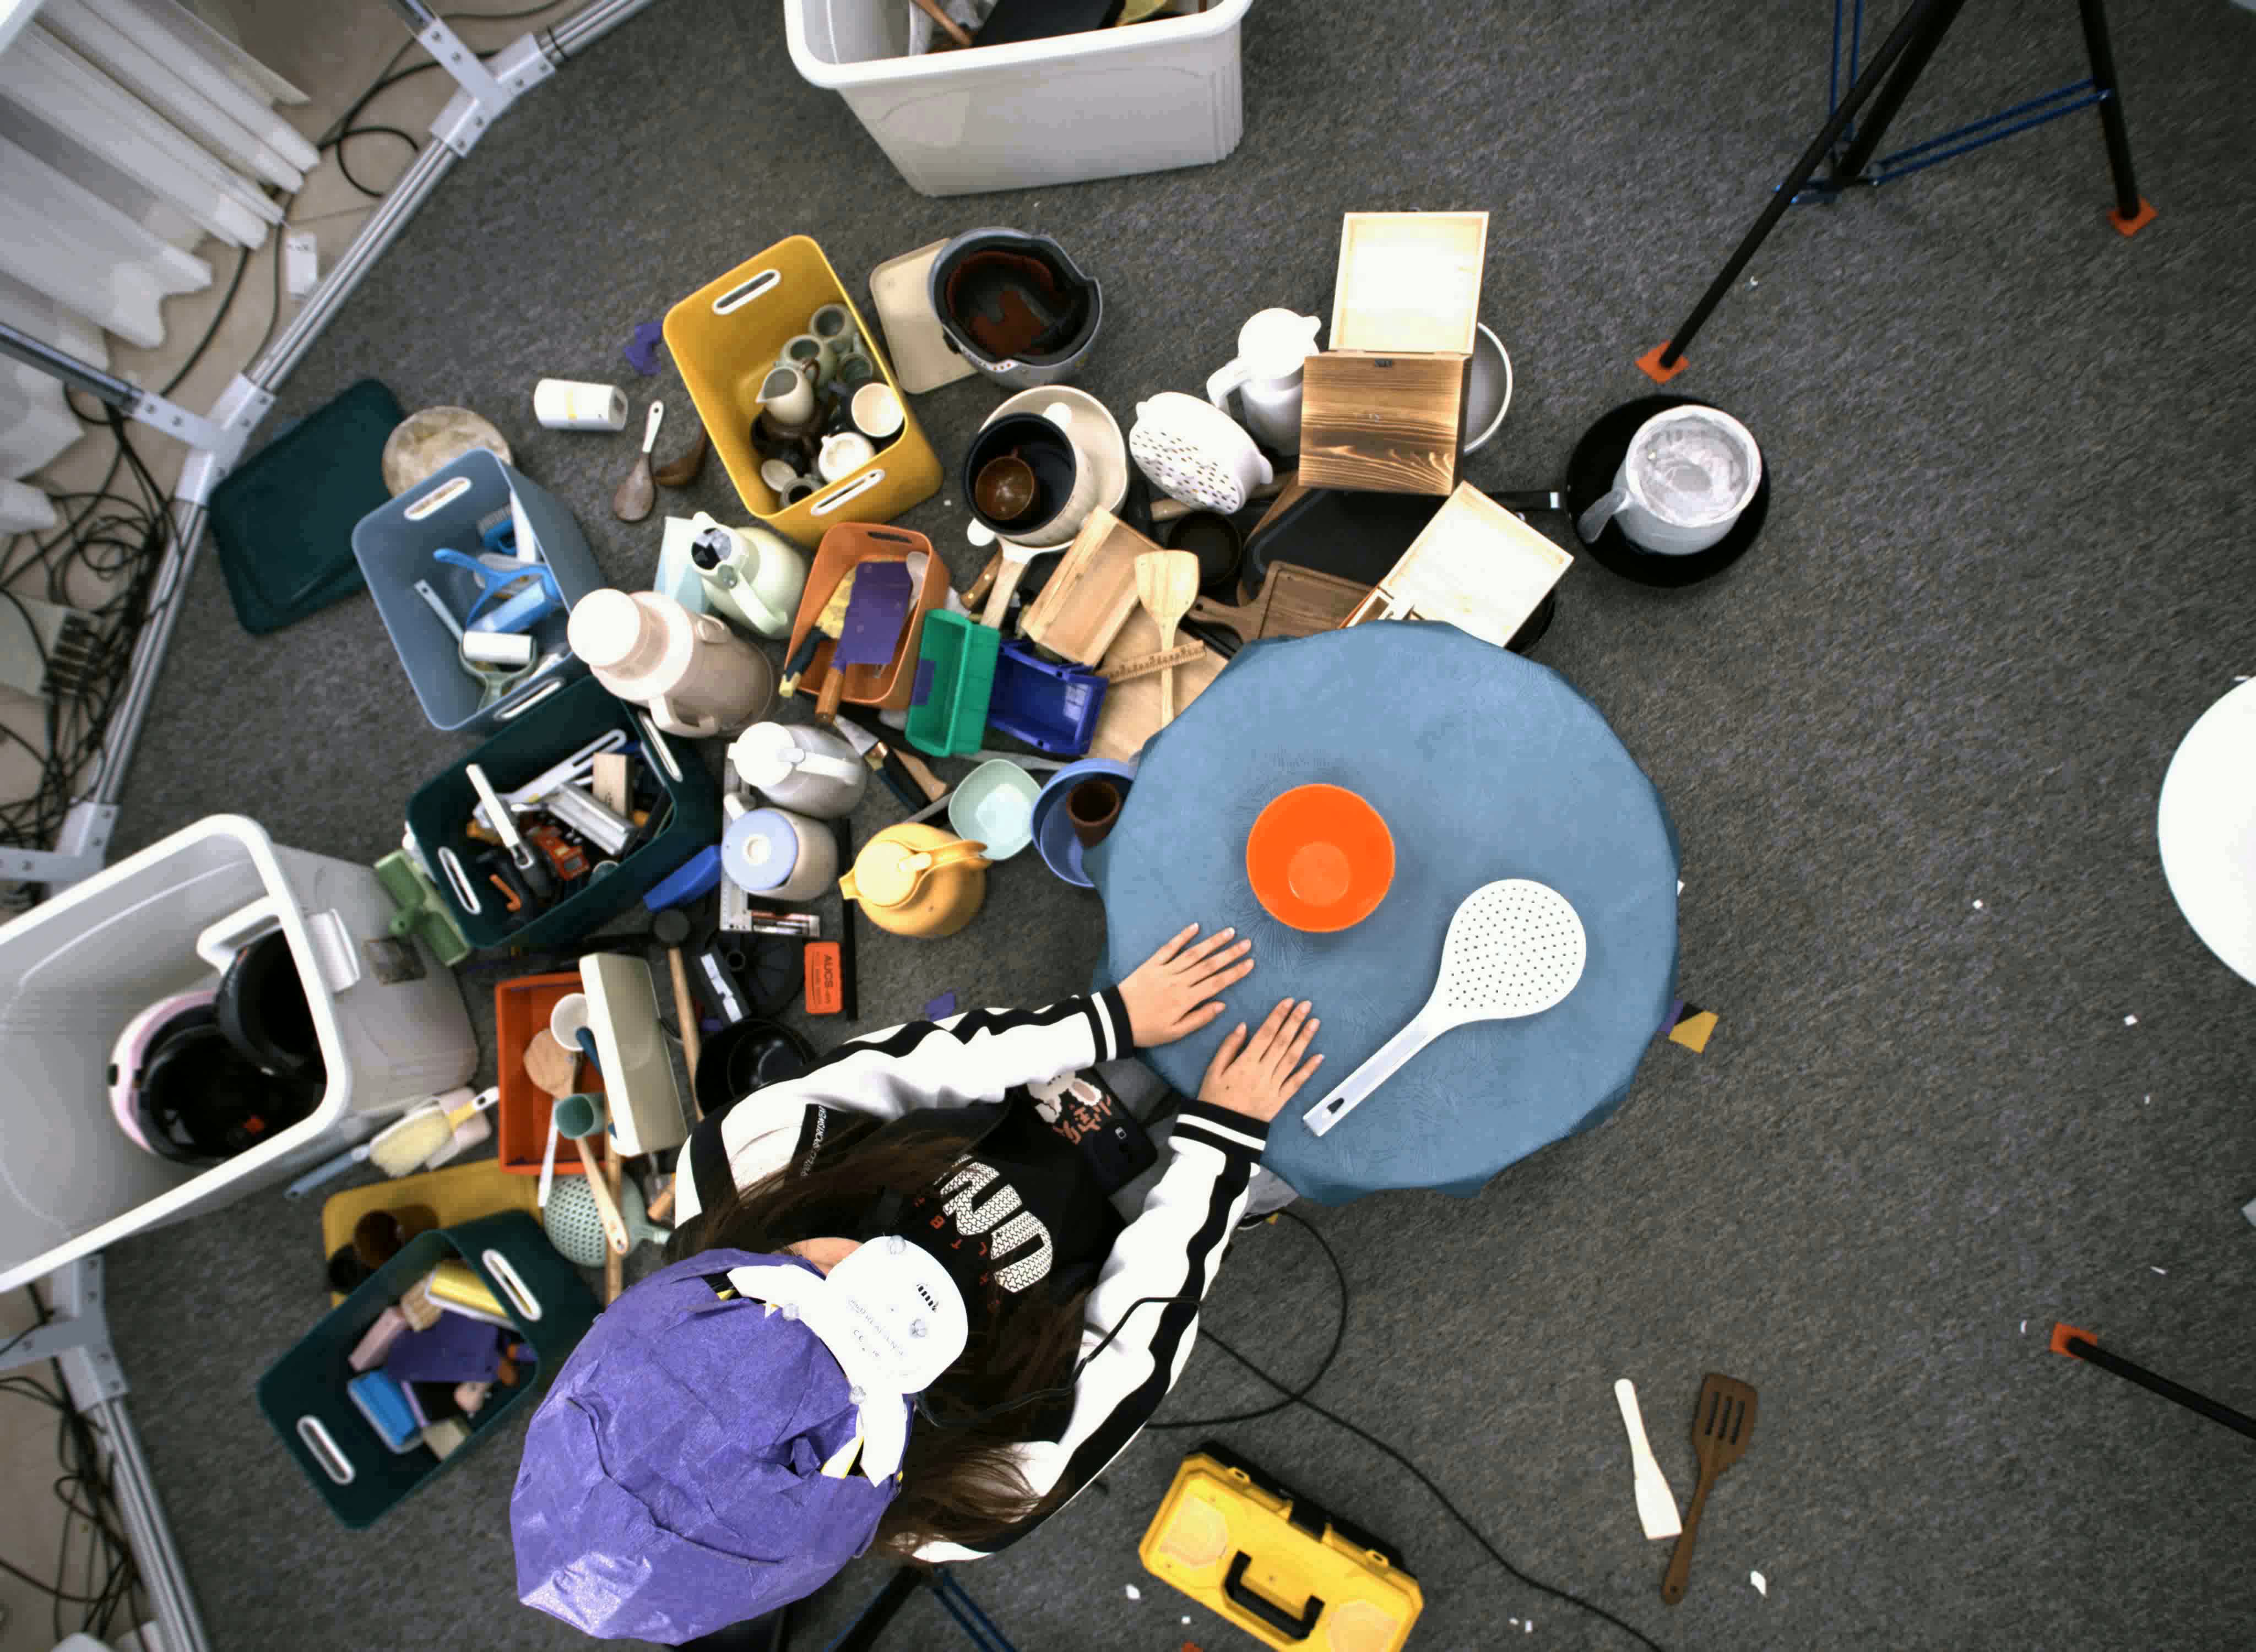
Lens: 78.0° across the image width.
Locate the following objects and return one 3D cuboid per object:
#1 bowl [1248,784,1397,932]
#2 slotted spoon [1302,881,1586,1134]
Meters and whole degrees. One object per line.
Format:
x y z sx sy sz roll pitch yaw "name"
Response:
0.198 0.035 1.423 0.148 0.104 0.147 0 88 7 "bowl"
0.317 0.195 1.422 0.351 0.046 0.135 -42 79 6 "slotted spoon"
